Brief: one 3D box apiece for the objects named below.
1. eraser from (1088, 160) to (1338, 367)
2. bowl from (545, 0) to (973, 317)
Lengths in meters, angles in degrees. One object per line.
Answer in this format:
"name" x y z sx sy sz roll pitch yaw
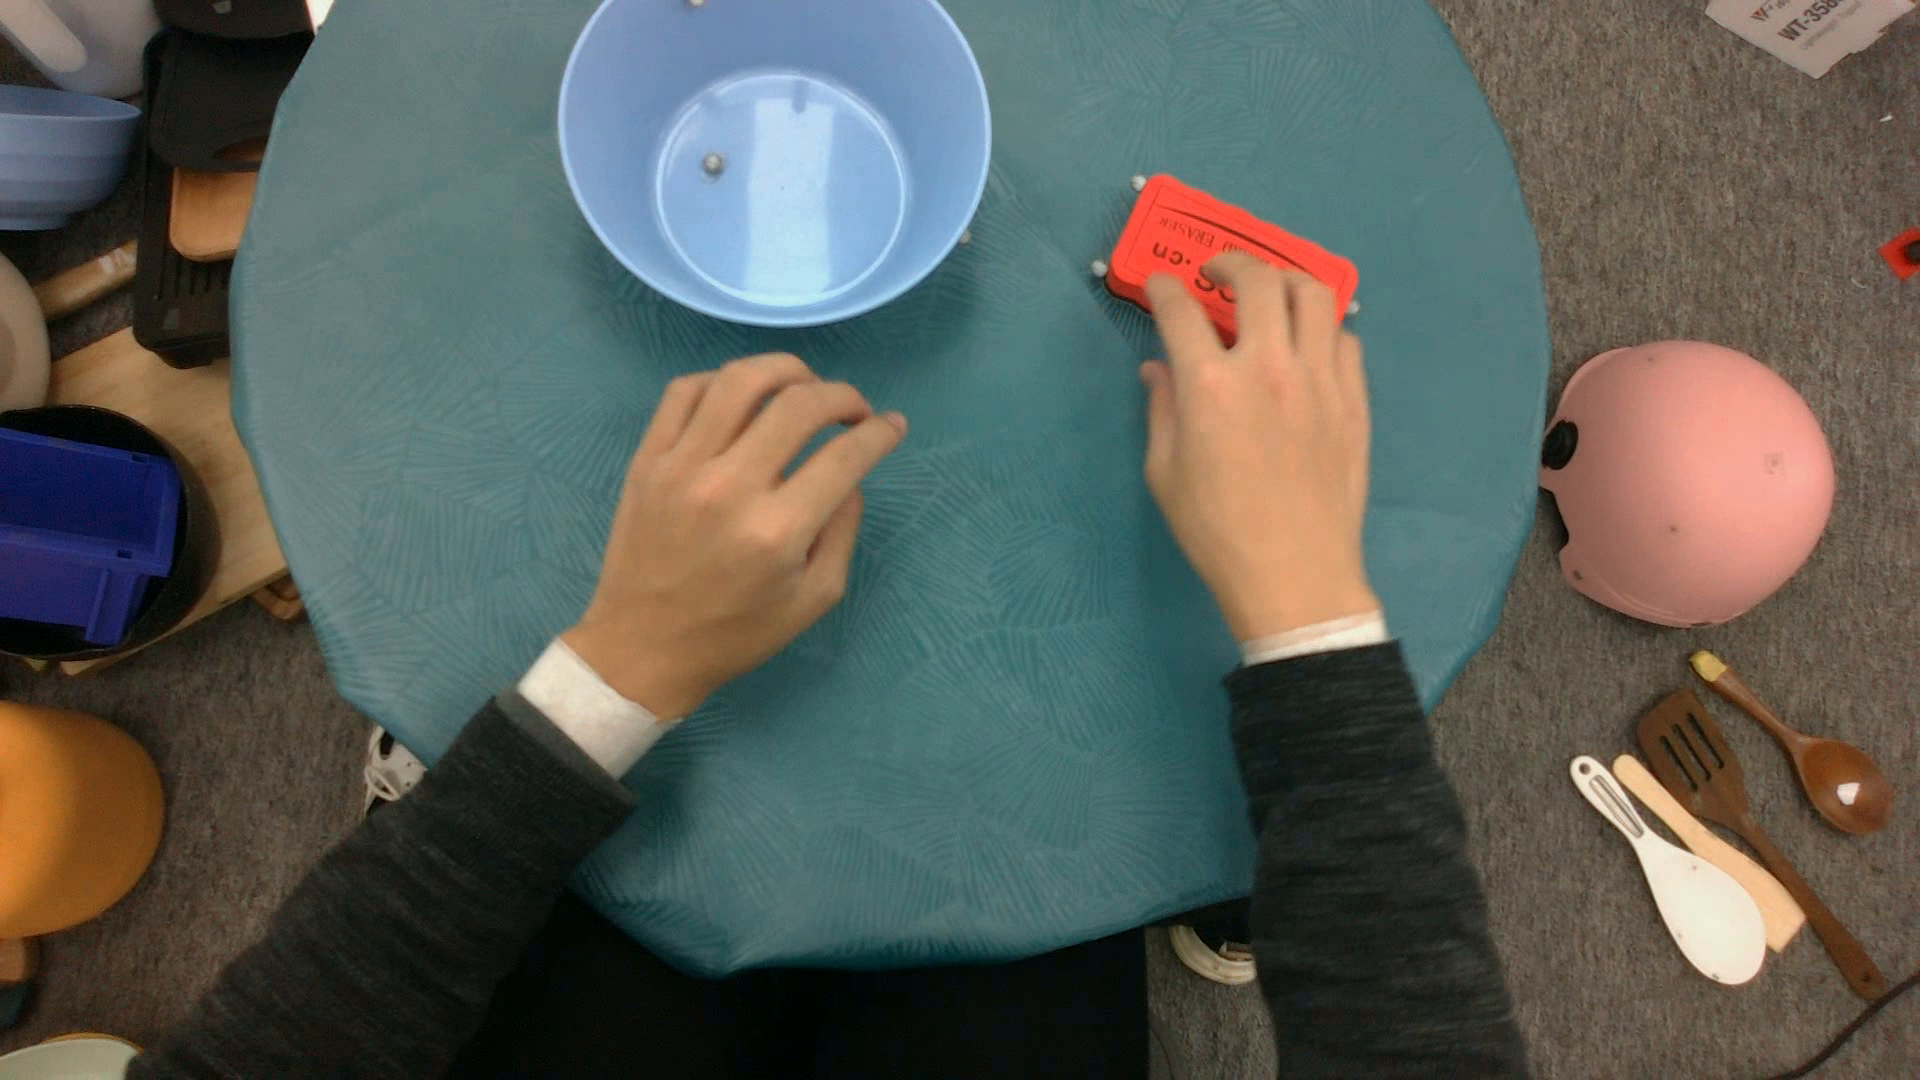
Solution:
"eraser" 0.117 -0.128 0.641 0.108 0.023 0.059 26 73 -3
"bowl" -0.085 -0.170 0.598 0.176 0.070 0.176 2 78 -8
